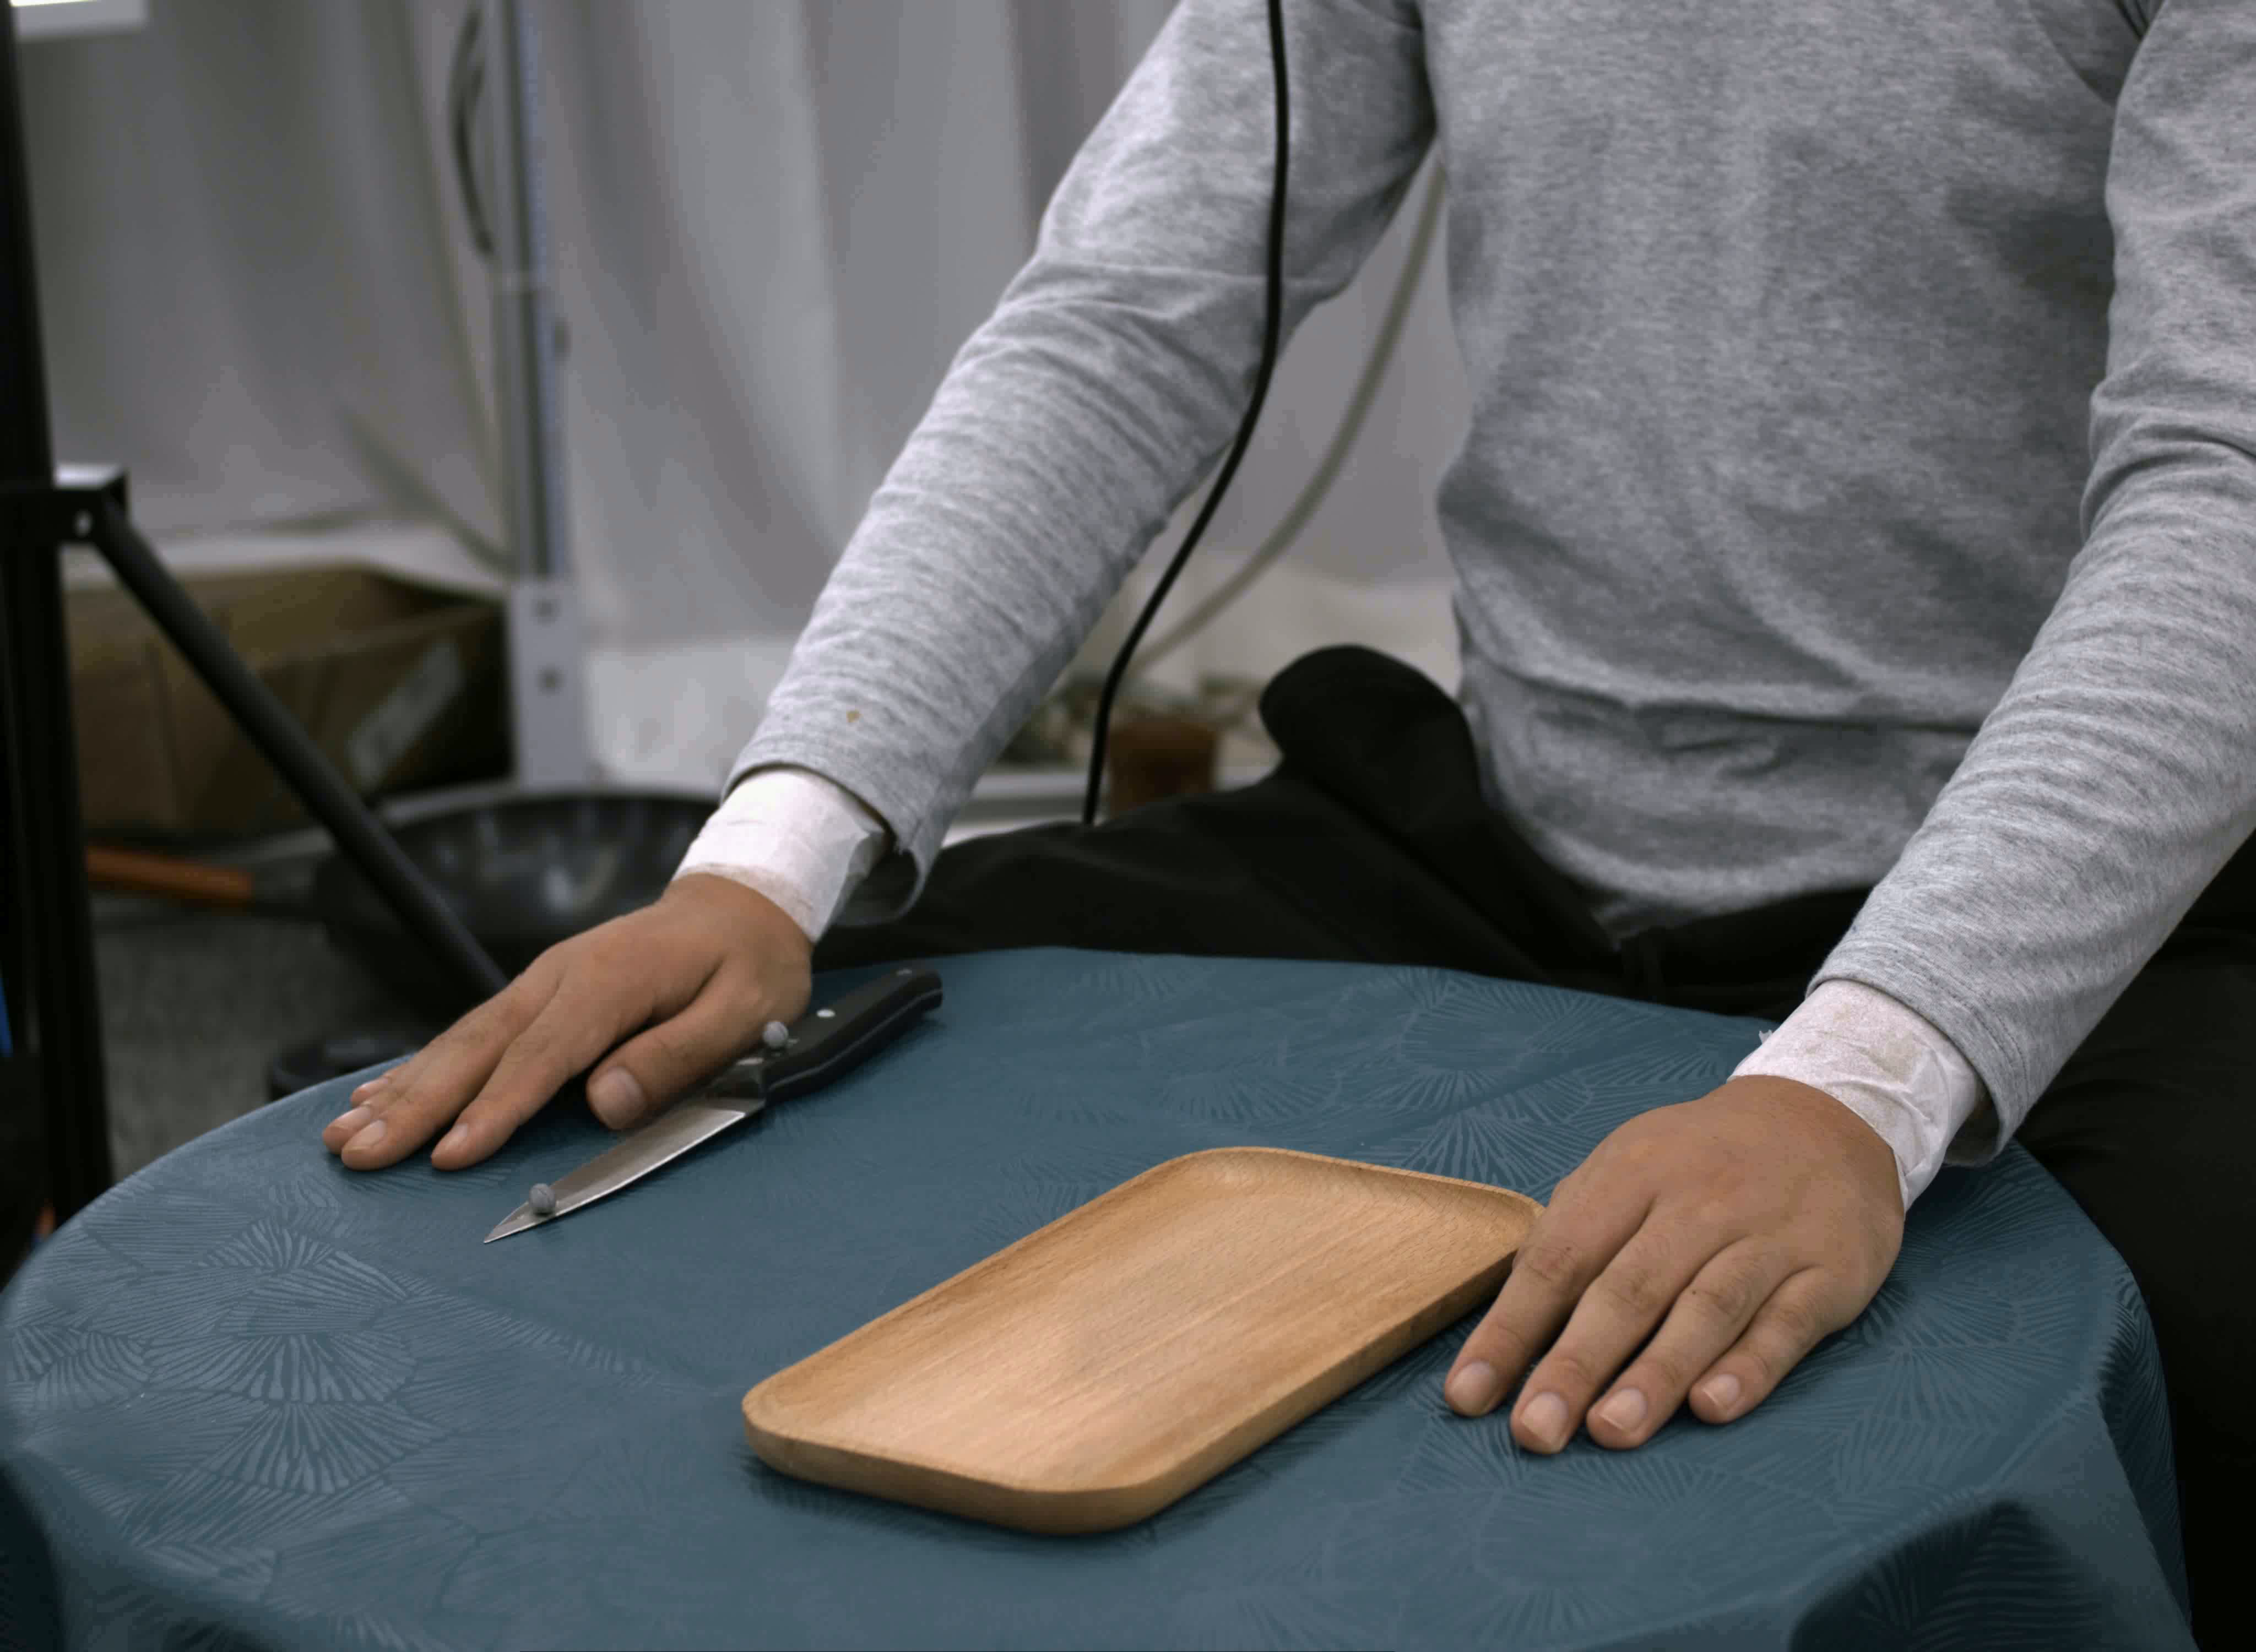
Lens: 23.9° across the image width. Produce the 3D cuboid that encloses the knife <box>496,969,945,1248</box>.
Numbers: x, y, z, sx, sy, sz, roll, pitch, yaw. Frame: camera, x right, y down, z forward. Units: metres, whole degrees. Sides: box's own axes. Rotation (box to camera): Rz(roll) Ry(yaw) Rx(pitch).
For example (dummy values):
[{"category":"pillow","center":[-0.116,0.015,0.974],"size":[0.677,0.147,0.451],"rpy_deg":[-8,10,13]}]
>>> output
[{"category":"knife","center":[-0.126,0.087,1.638],"size":[0.025,0.016,0.234],"rpy_deg":[7,21,30]}]

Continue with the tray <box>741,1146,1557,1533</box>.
[{"category":"tray","center":[0.010,0.136,1.433],"size":[0.133,0.023,0.245],"rpy_deg":[11,20,33]}]
